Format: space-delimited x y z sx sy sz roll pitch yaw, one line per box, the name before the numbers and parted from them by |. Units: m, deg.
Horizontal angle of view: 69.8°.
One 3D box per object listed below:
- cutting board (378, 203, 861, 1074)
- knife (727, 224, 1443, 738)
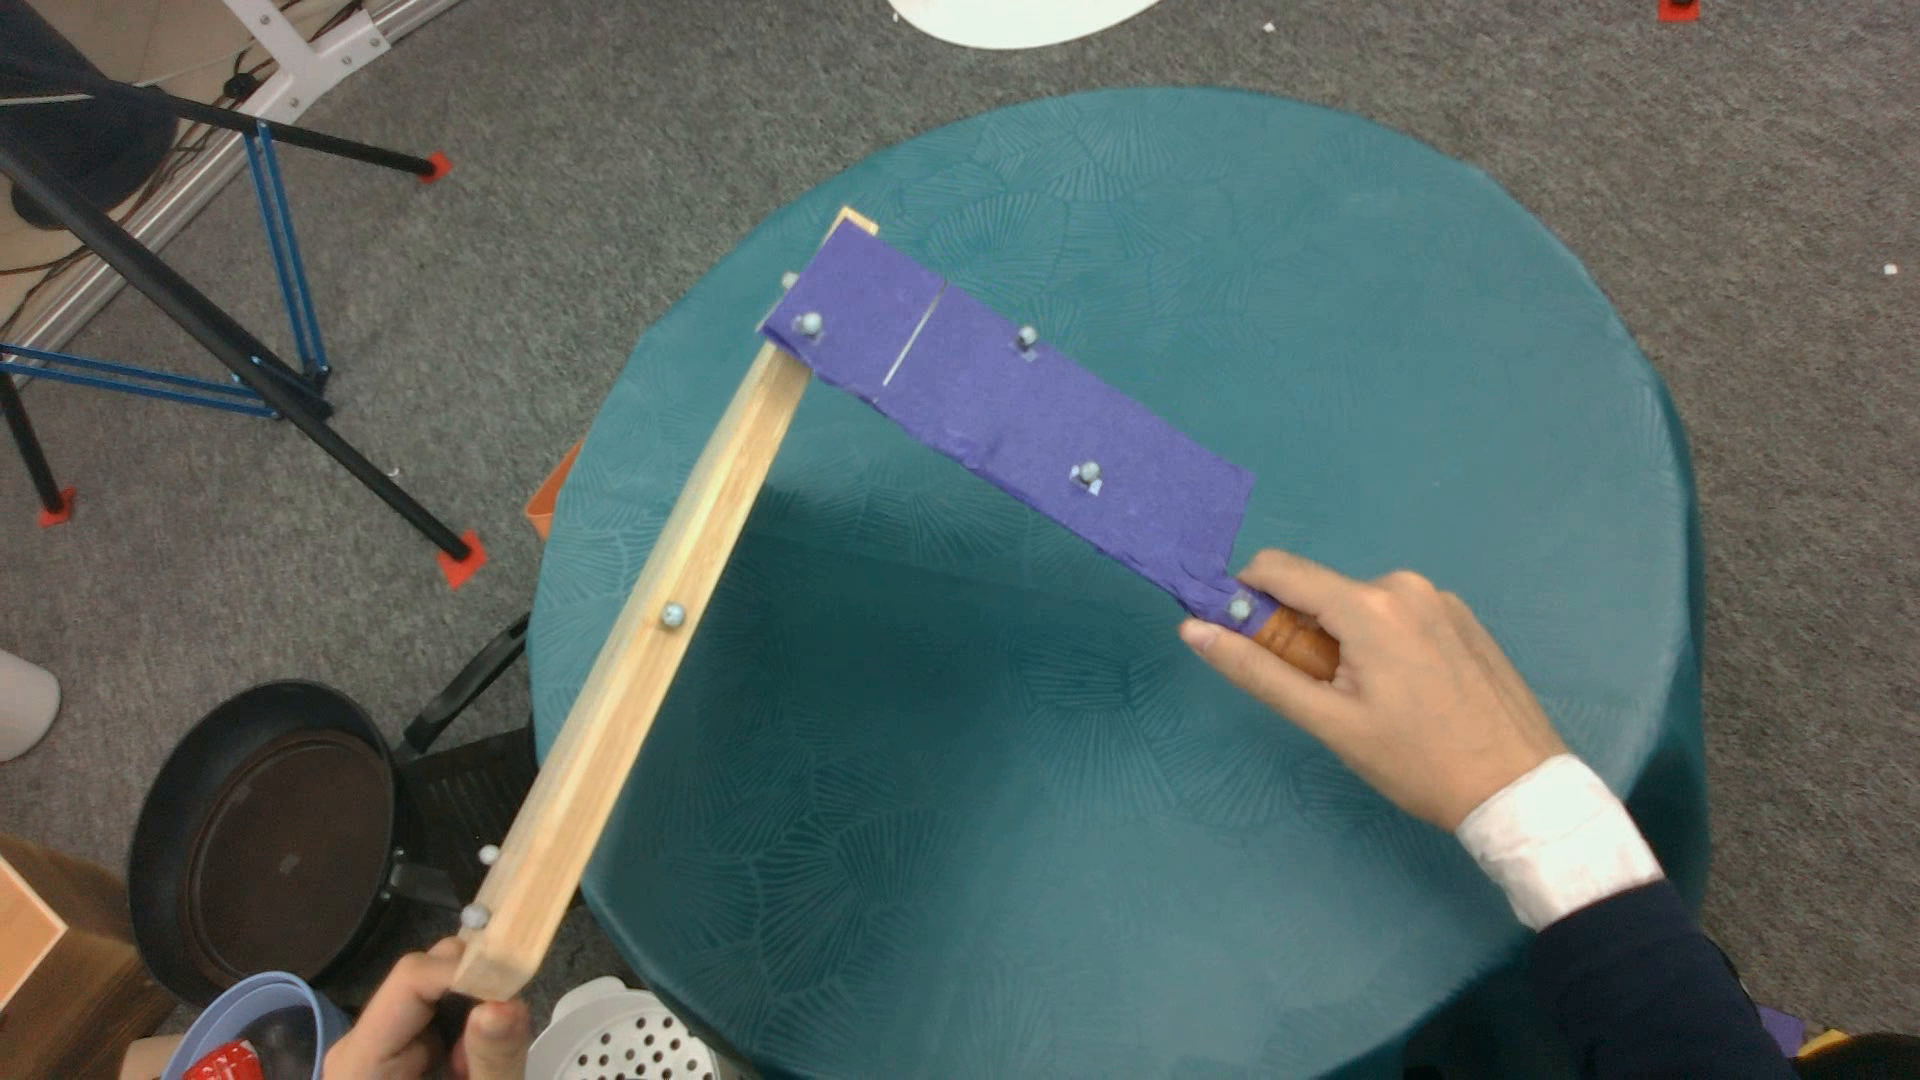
cutting board | -0.144 0.041 0.592 0.023 0.249 0.350 28 54 -14
knife | 0.062 -0.032 0.558 0.315 0.032 0.104 32 46 -5
